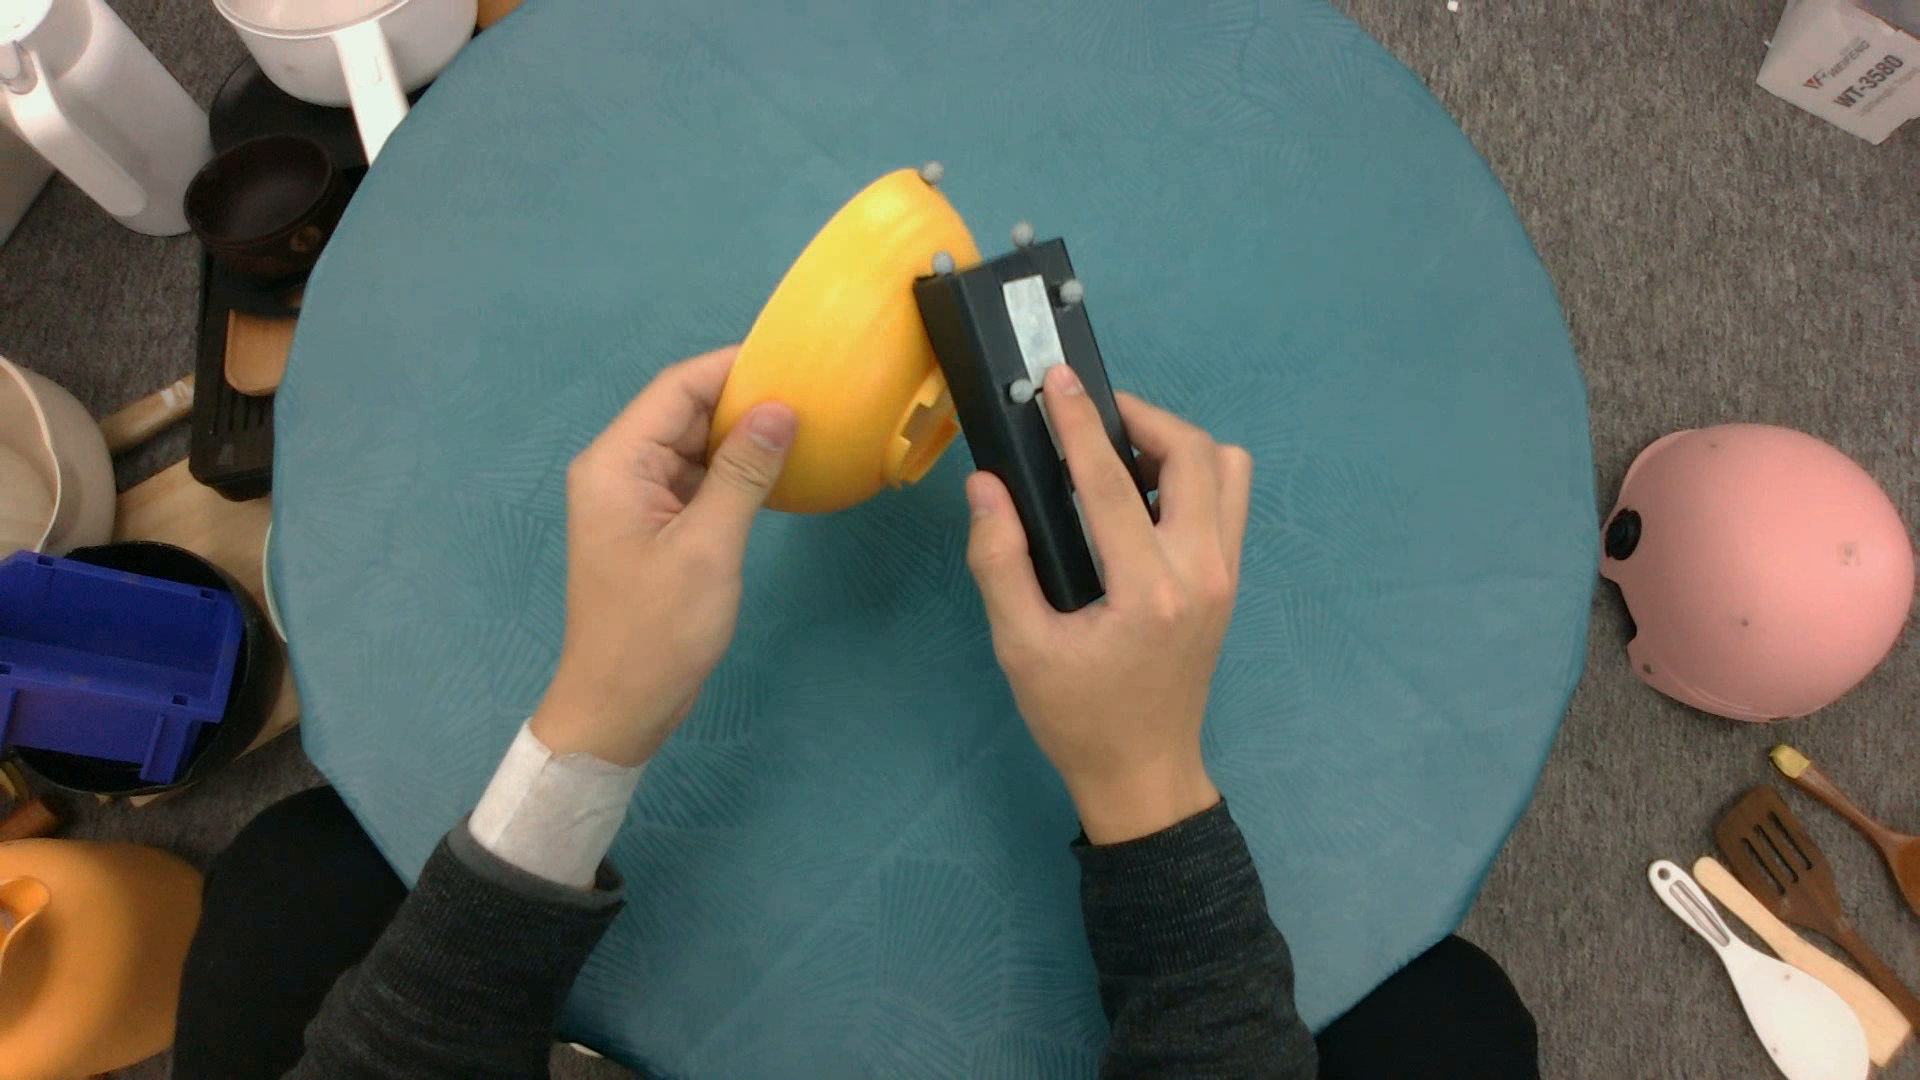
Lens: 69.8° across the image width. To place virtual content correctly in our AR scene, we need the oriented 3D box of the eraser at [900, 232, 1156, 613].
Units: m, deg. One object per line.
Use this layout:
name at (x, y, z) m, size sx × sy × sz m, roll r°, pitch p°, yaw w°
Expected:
eraser at (0.025, -0.041, 0.489) m, size 0.054 × 0.030 × 0.125 m, roll -26°, pitch 101°, yaw -27°

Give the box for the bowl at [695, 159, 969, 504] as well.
bowl at (-0.035, -0.067, 0.529) m, size 0.060 × 0.145 × 0.145 m, roll 32°, pitch 75°, yaw 7°
